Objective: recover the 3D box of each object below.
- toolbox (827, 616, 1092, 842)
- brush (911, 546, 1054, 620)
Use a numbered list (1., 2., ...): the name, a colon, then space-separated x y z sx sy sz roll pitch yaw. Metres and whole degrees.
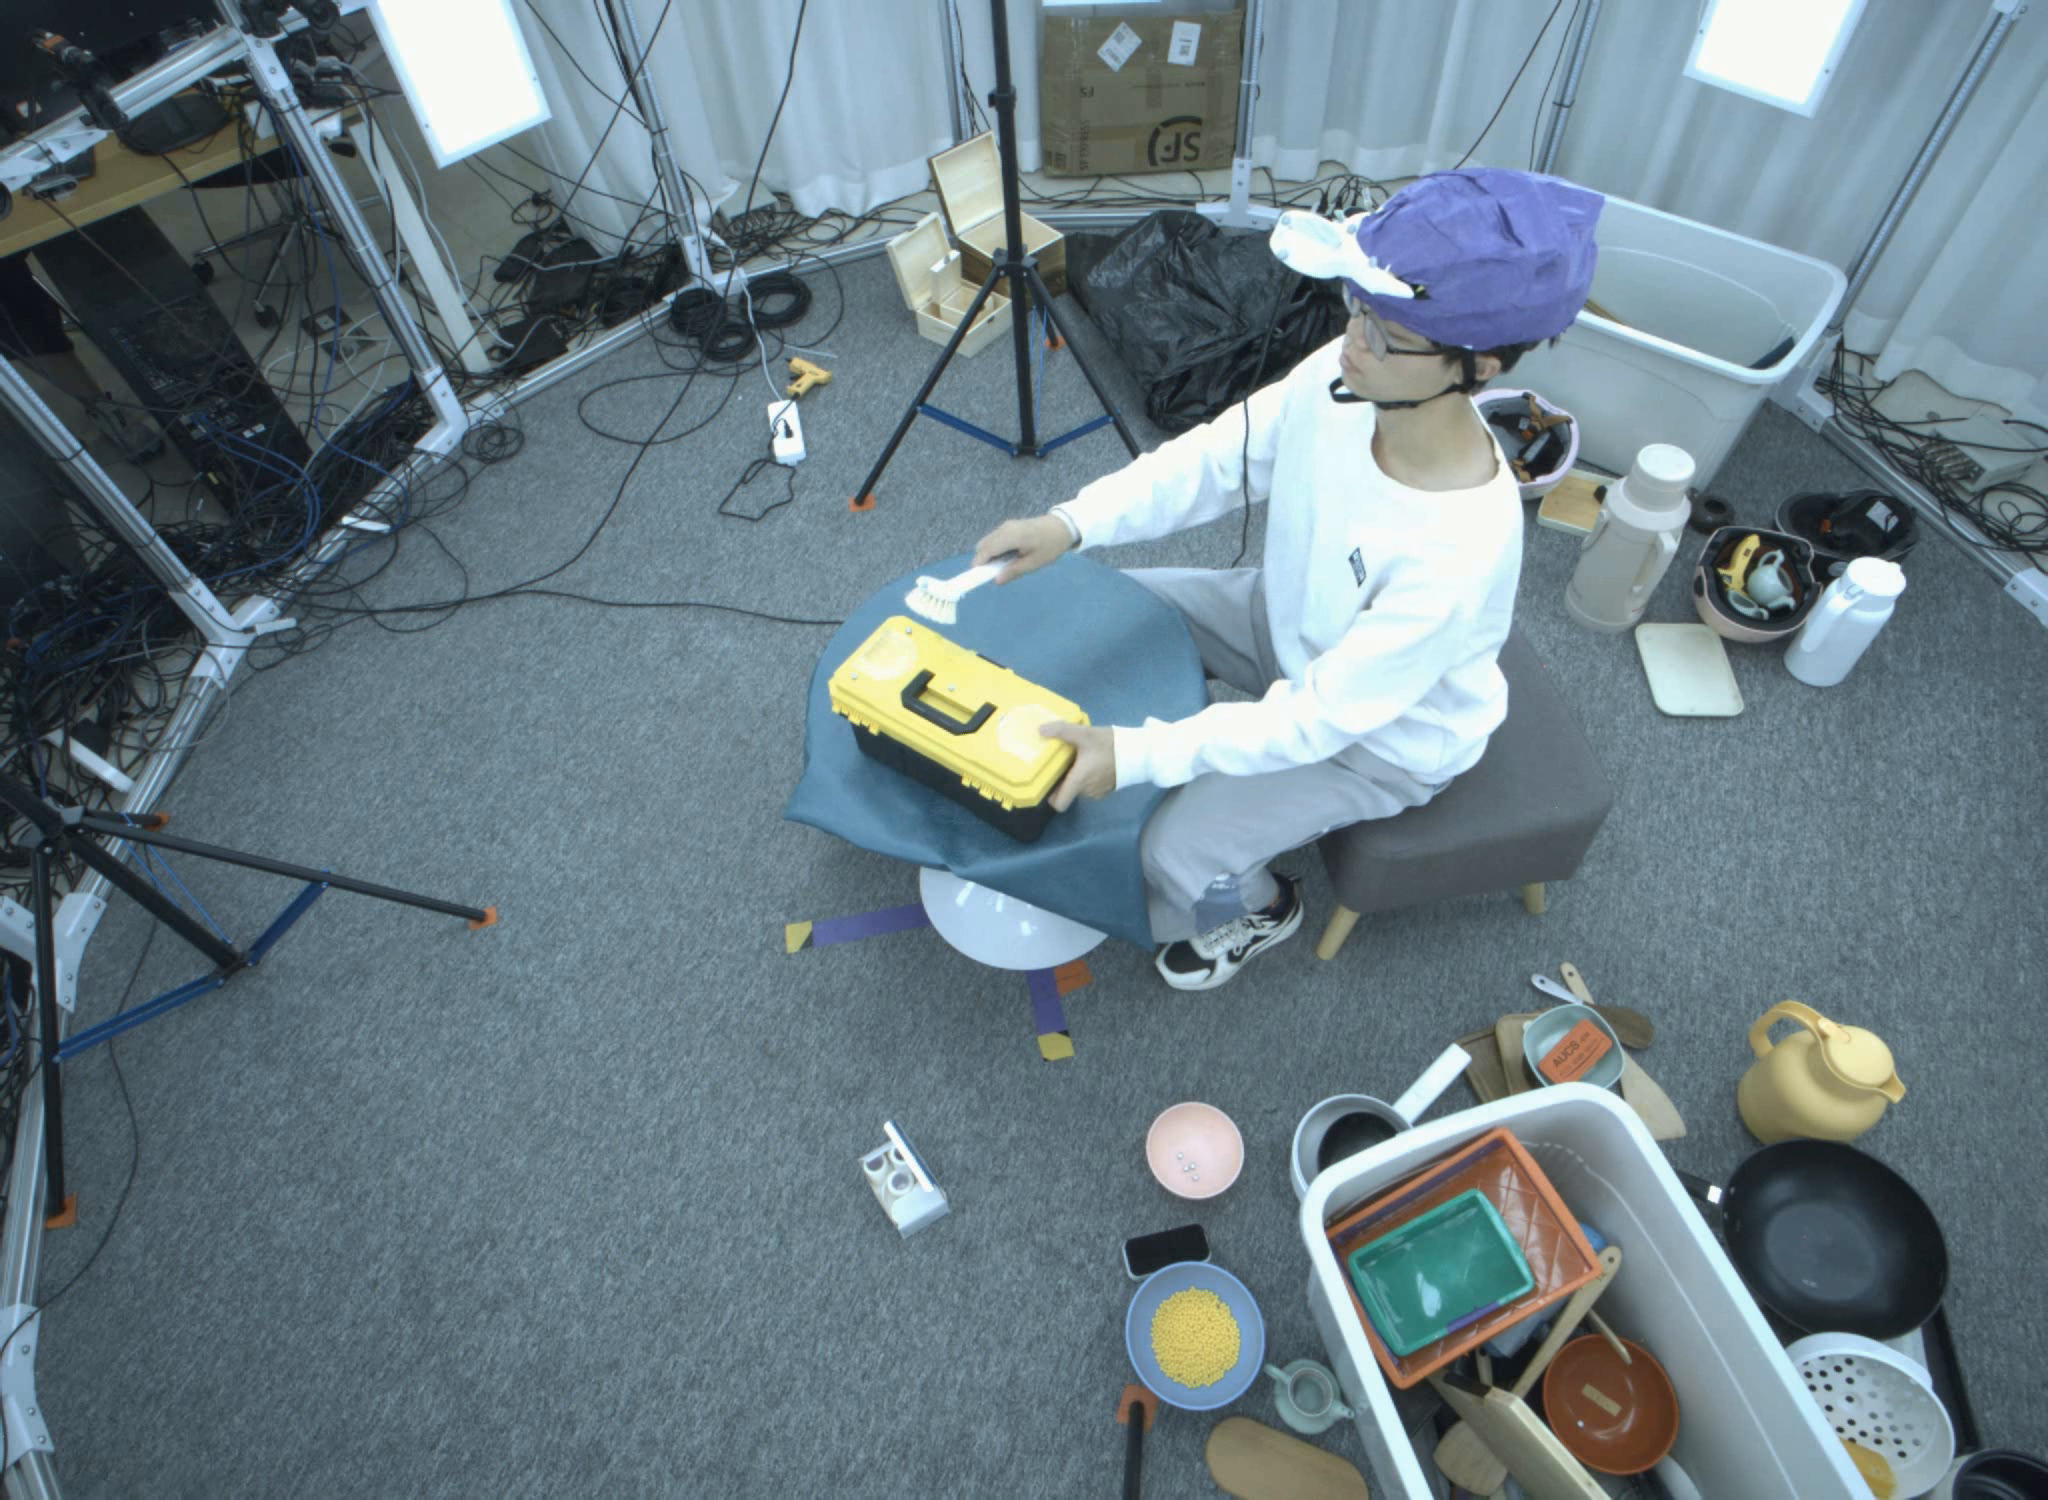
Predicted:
1. toolbox: -0.087 -0.030 1.701 0.346 0.174 0.182 29 62 20
2. brush: -0.053 -0.235 1.690 0.068 0.056 0.270 46 38 17
